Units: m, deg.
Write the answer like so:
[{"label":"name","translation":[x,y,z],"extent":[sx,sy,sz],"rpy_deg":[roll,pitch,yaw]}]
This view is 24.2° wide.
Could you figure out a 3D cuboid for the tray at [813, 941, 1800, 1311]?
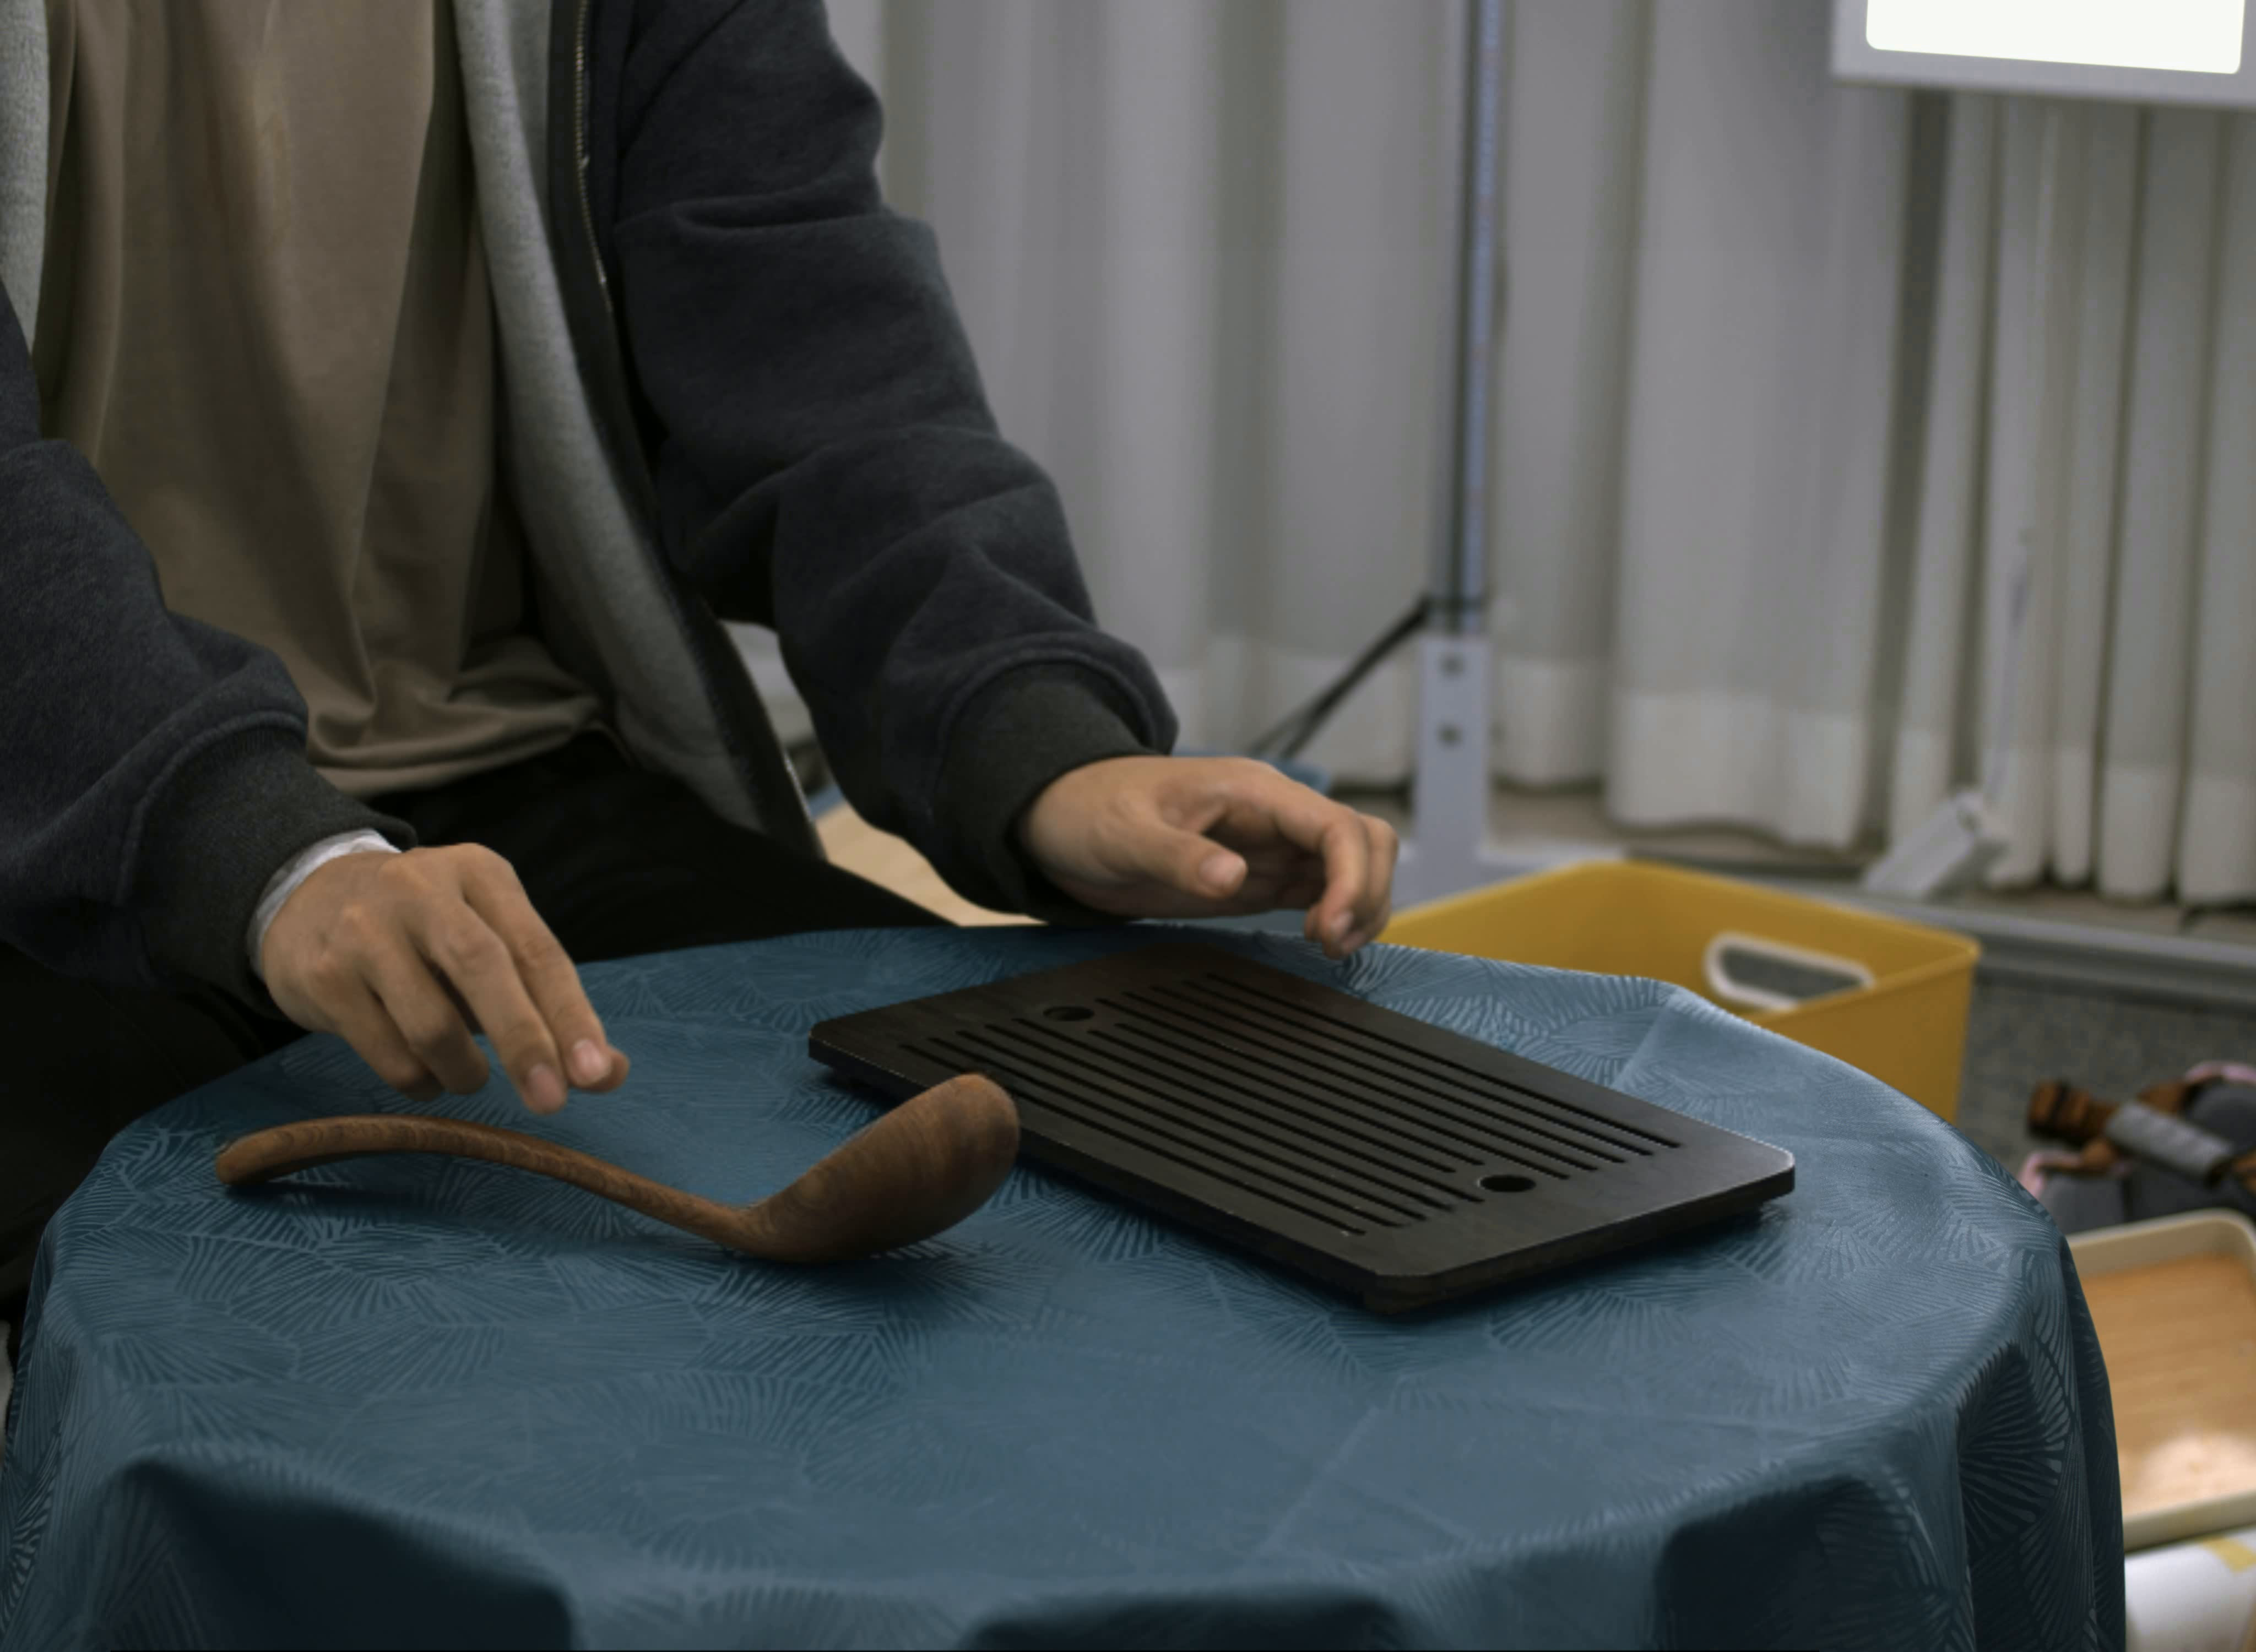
[{"label":"tray","translation":[0.051,0.091,1.668],"extent":[0.171,0.019,0.302],"rpy_deg":[-12,19,-37]}]

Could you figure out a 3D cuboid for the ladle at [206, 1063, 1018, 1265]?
[{"label":"ladle","translation":[-0.157,0.091,1.576],"extent":[0.258,0.065,0.077],"rpy_deg":[6,-8,20]}]
